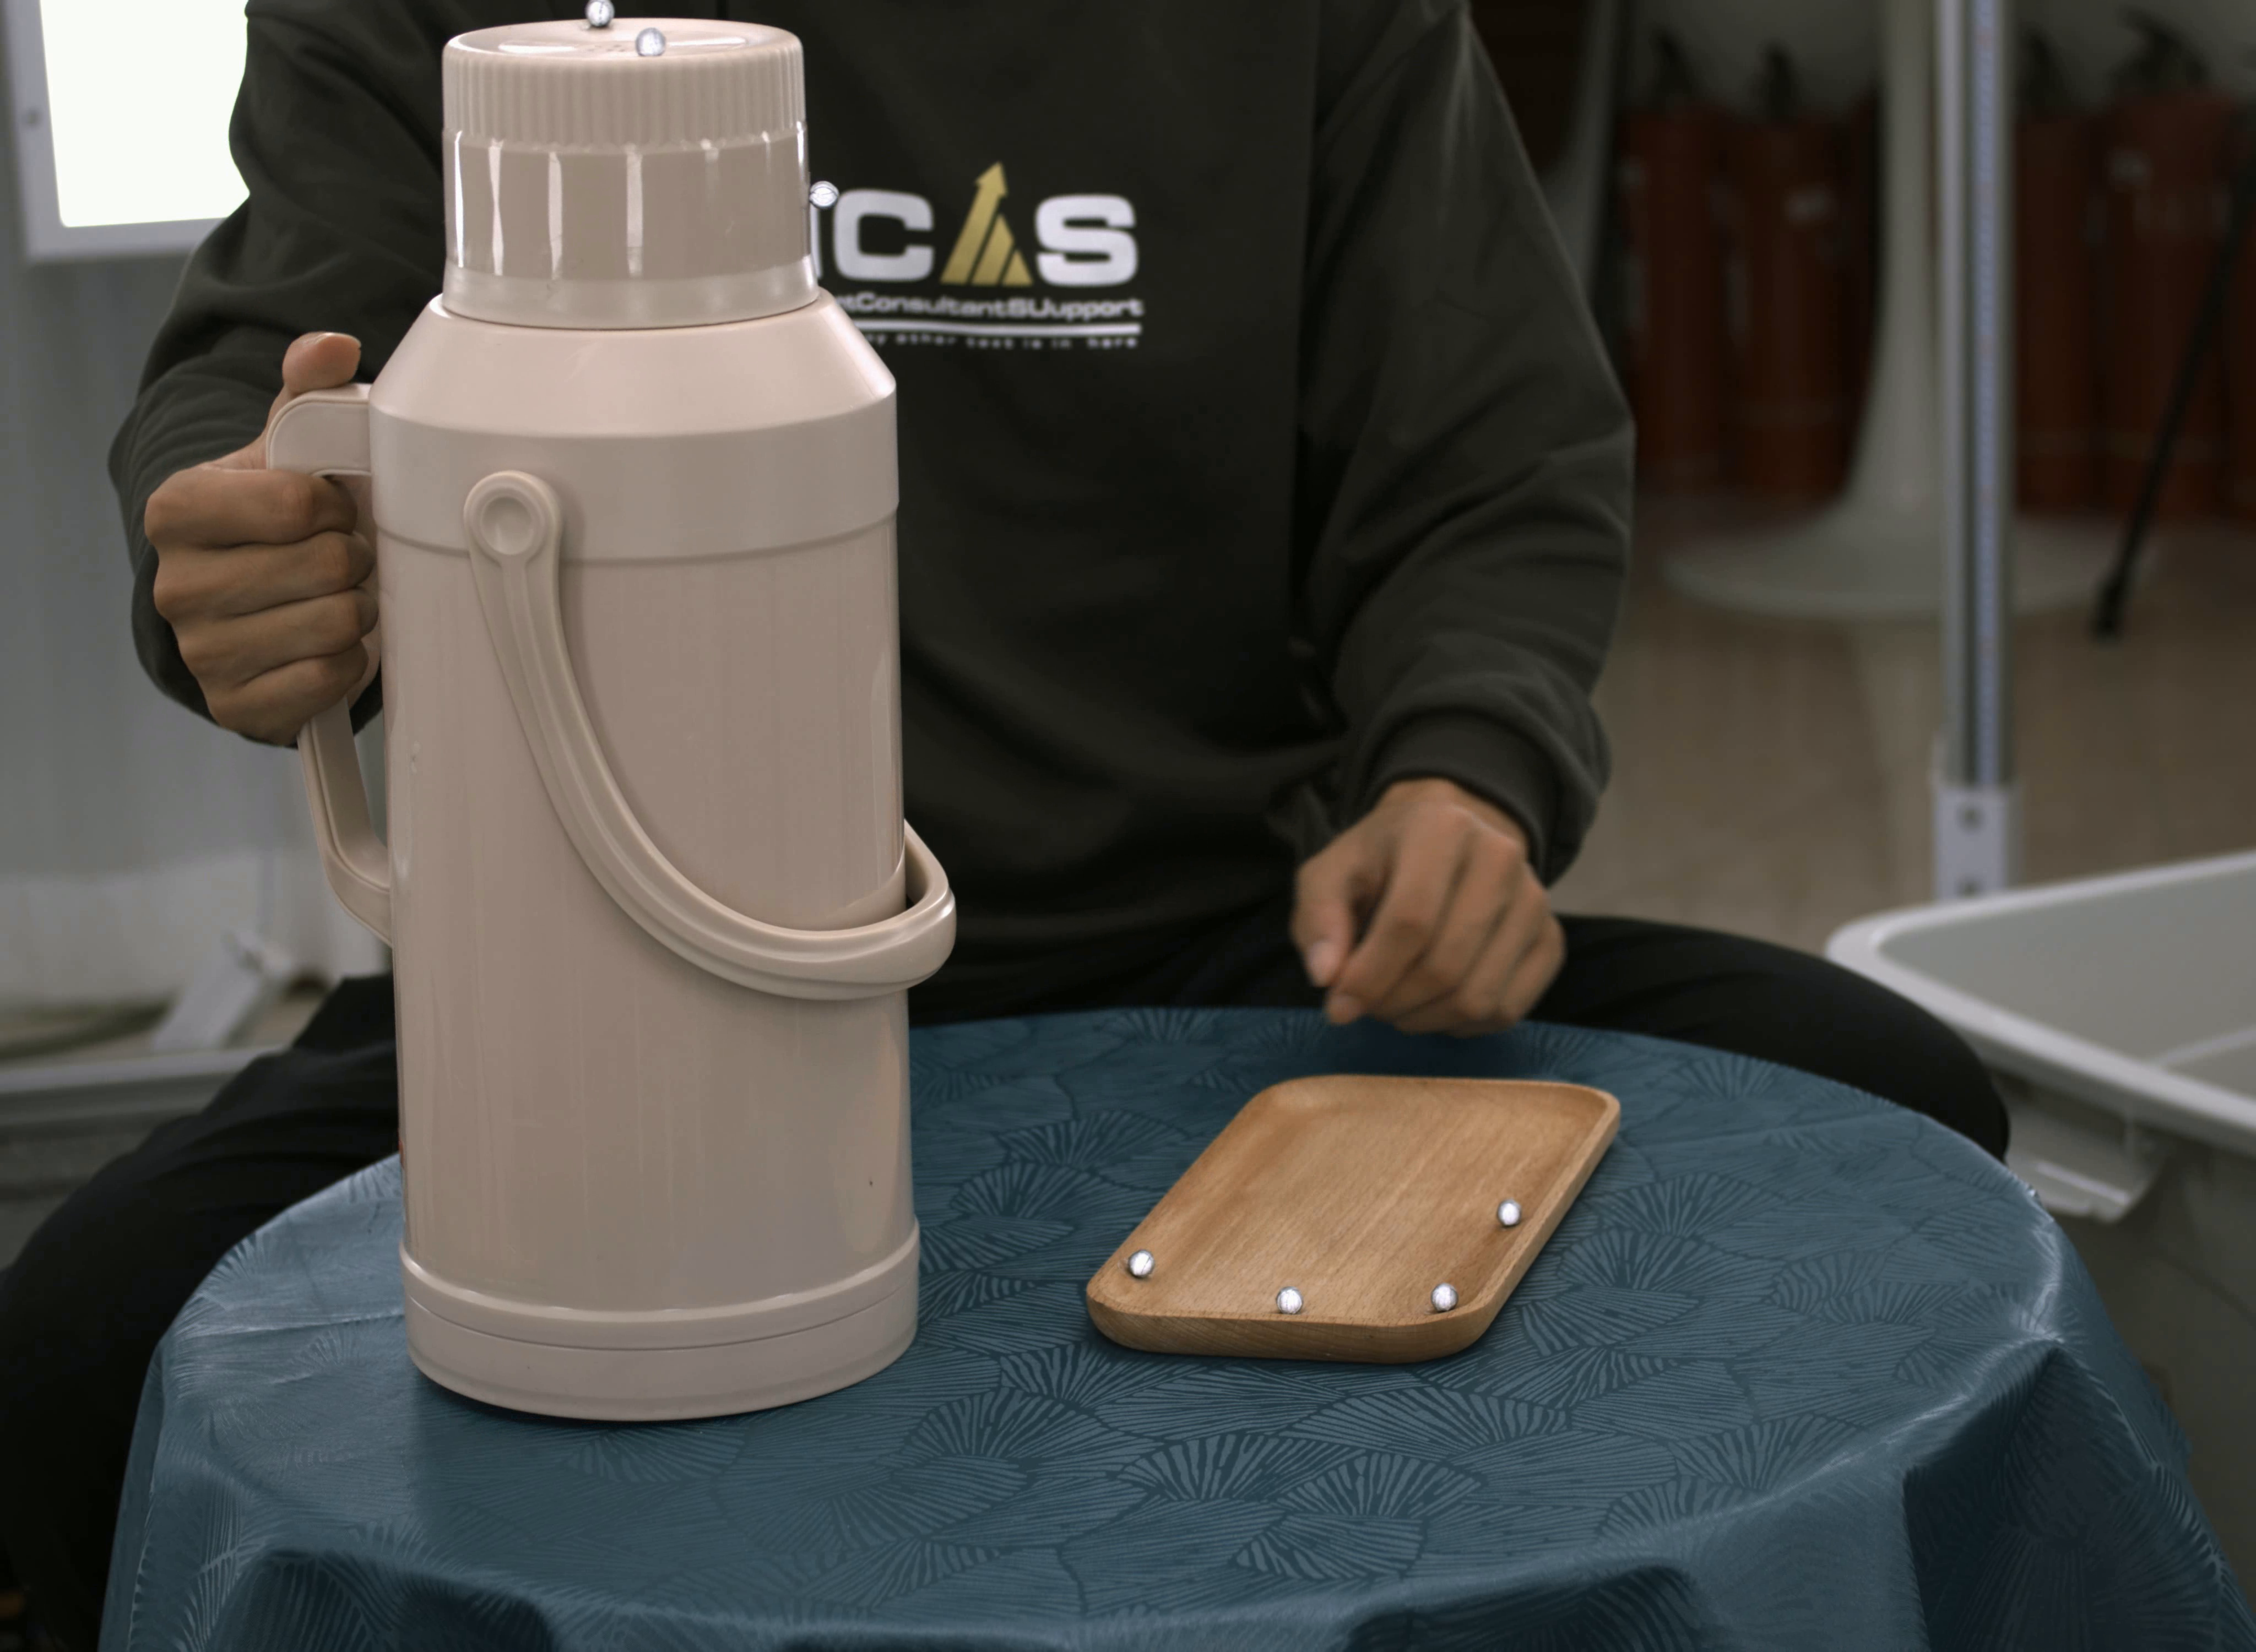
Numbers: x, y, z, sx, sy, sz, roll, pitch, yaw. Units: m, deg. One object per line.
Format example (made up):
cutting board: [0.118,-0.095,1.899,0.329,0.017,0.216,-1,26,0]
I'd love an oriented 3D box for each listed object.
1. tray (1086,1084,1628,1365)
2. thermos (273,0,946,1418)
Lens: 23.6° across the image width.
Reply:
tray: [0.077,0.124,1.712,0.130,0.023,0.248,3,14,18]
thermos: [-0.156,-0.040,1.619,0.207,0.411,0.173,4,15,20]
